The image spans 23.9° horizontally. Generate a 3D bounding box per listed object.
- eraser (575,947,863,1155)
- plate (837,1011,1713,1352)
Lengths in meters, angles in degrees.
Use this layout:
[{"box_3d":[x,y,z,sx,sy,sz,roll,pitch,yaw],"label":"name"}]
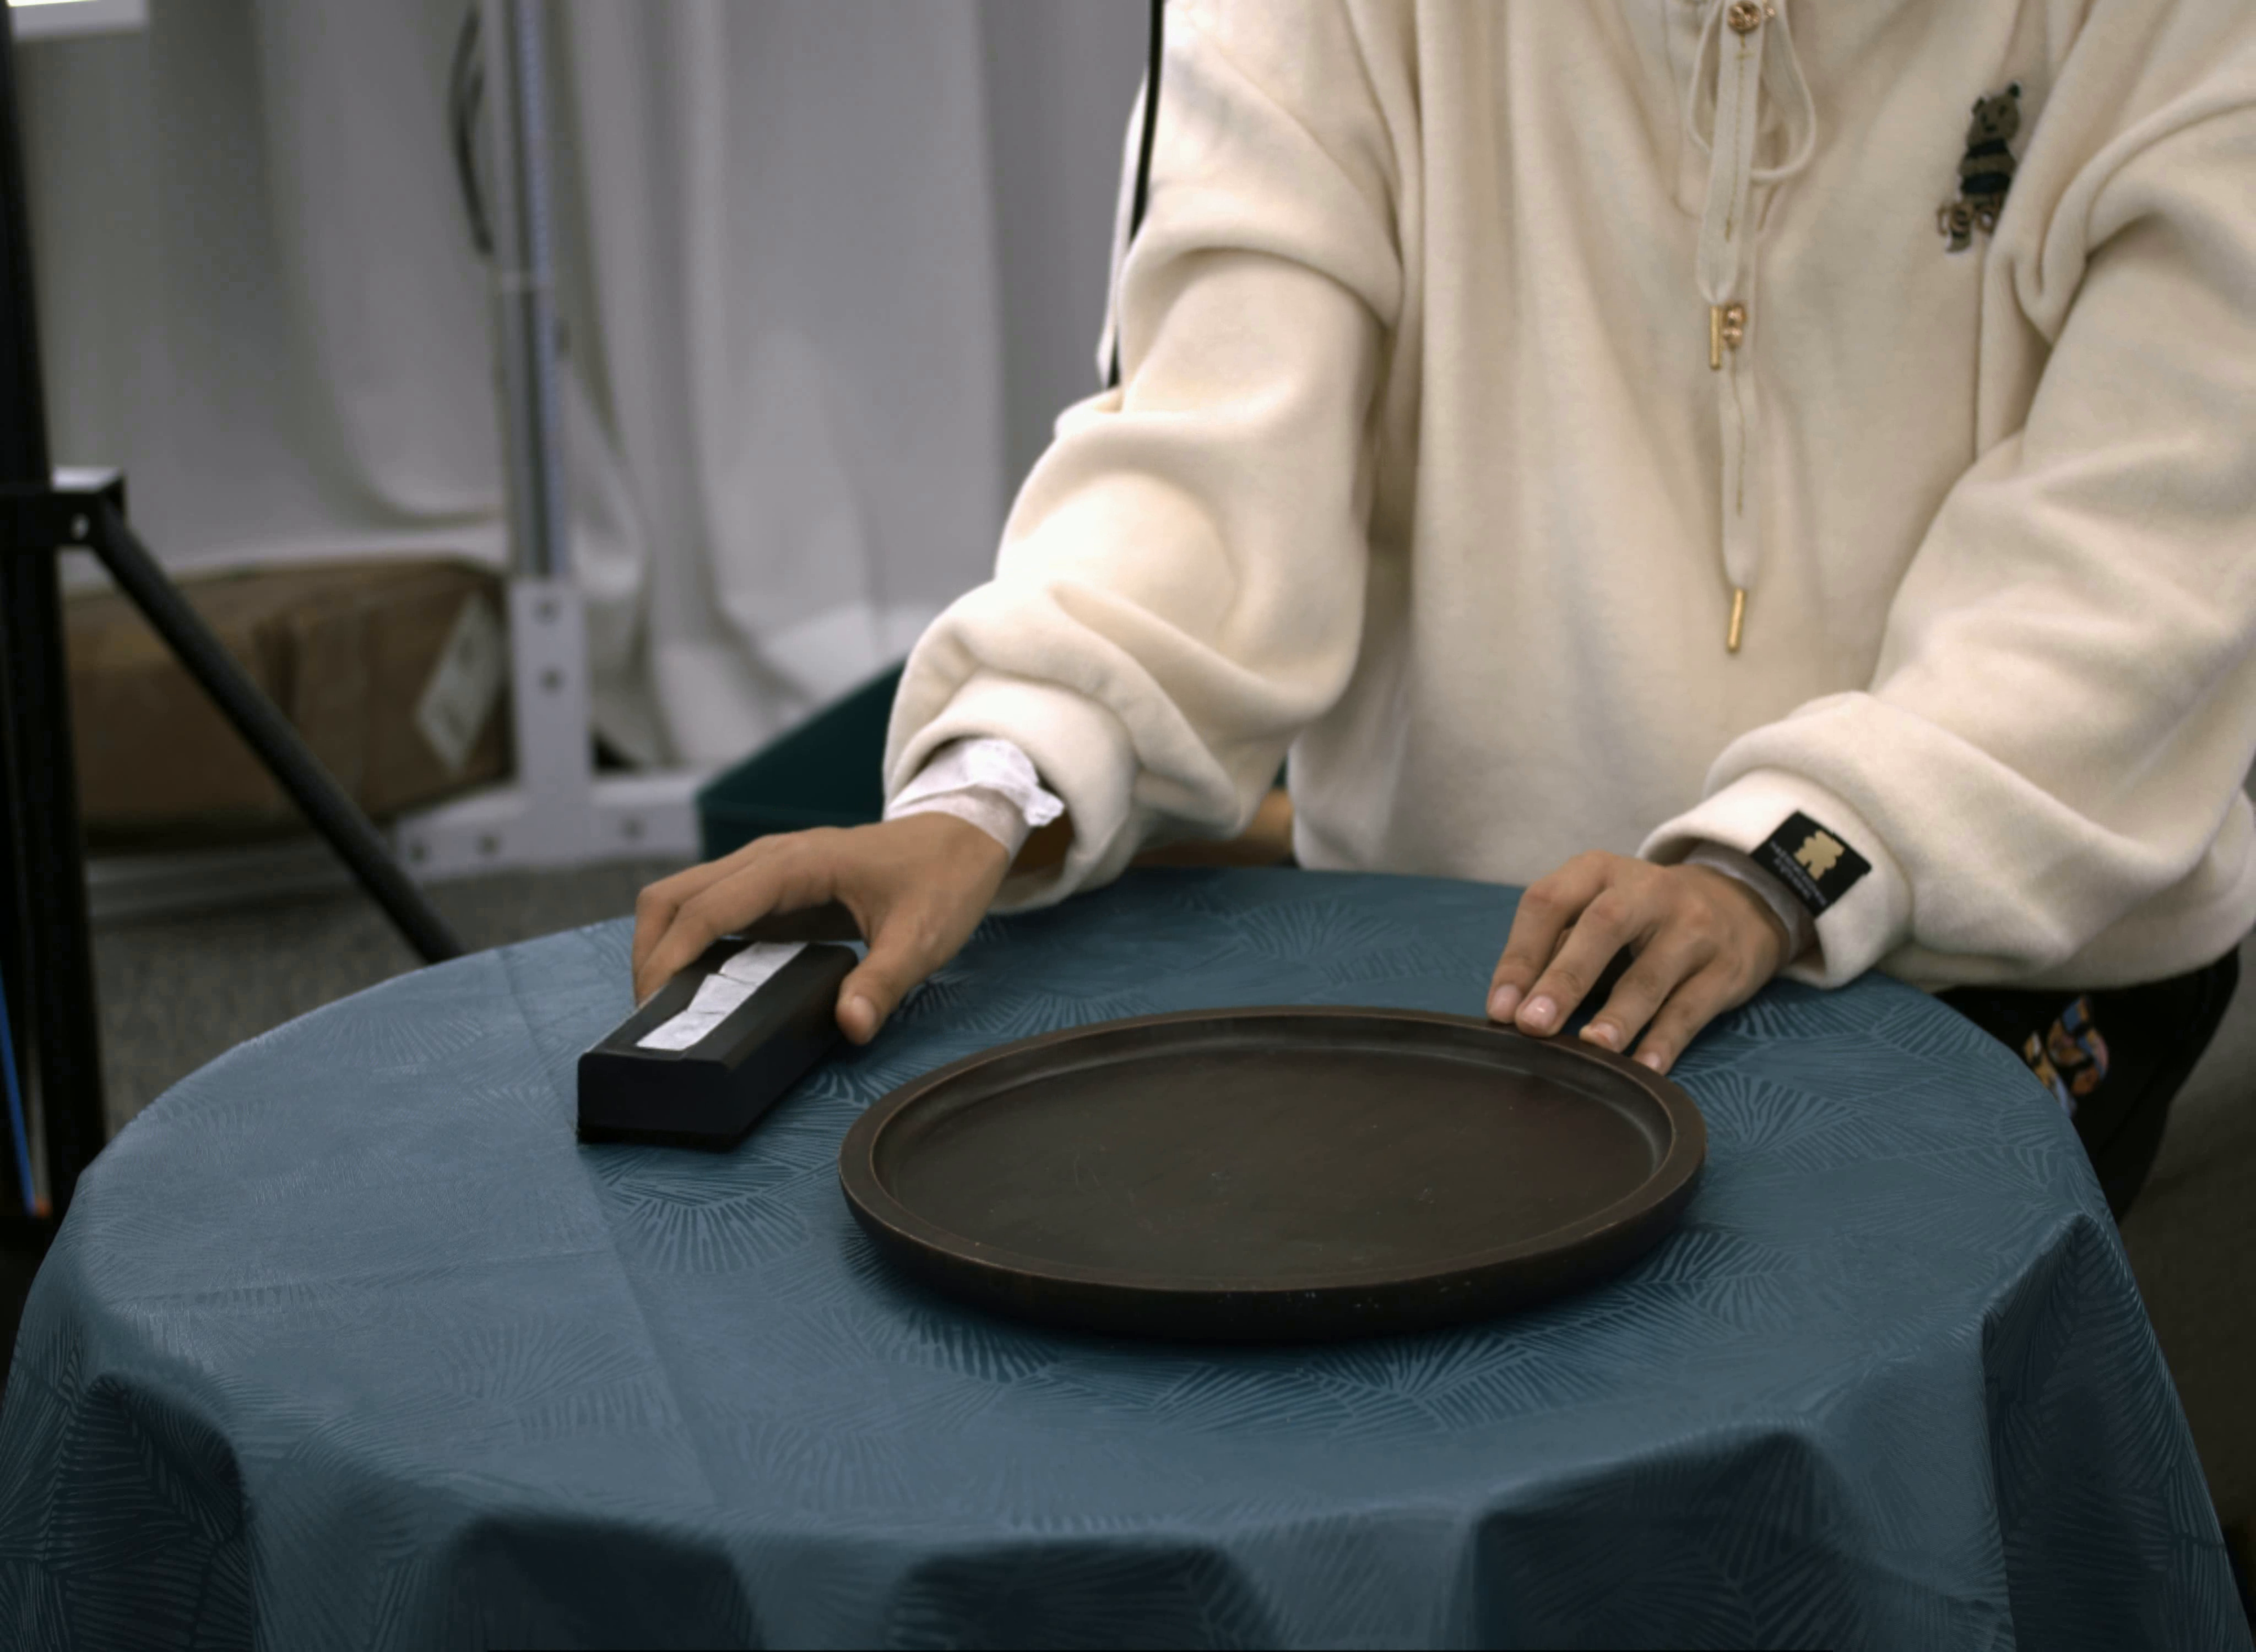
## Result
[{"box_3d":[-0.126,0.069,1.667,0.054,0.030,0.124,5,15,15],"label":"eraser"},{"box_3d":[0.042,0.100,1.536,0.253,0.029,0.256,-4,17,0],"label":"plate"}]
